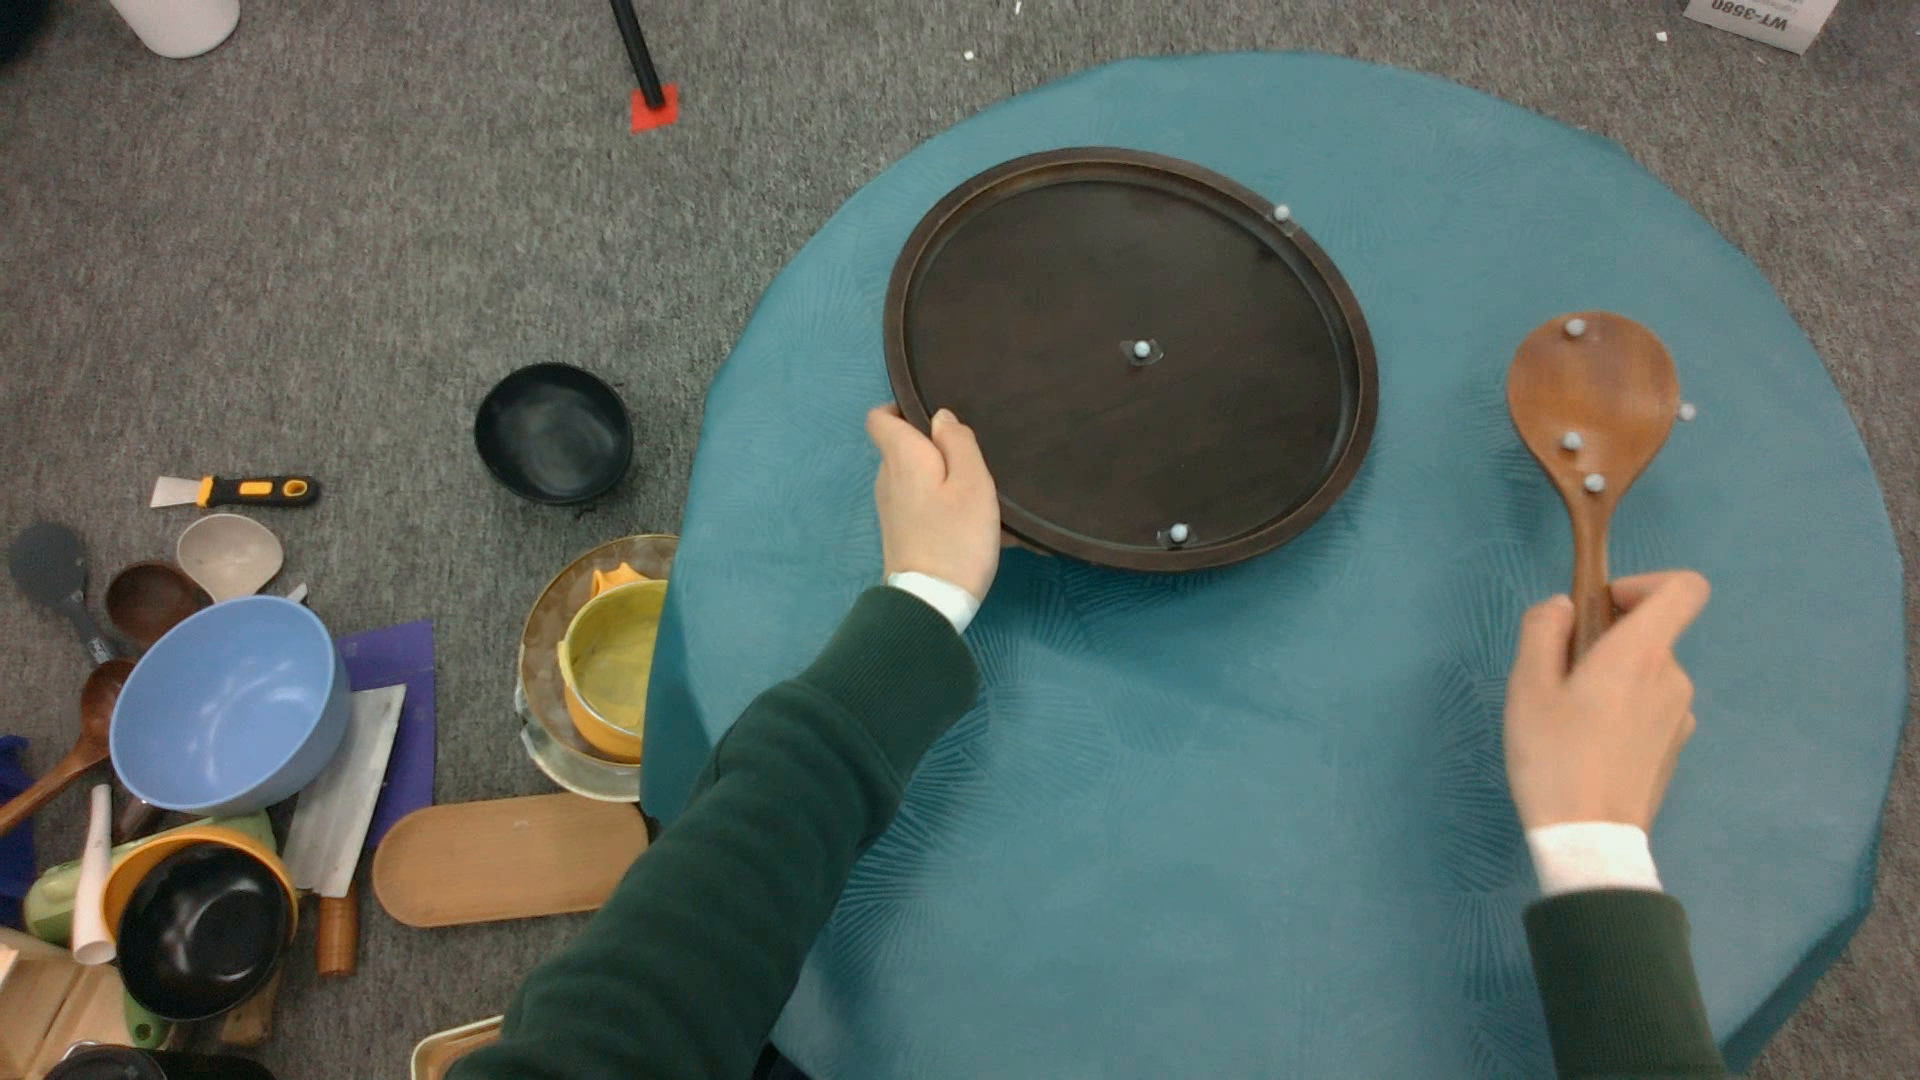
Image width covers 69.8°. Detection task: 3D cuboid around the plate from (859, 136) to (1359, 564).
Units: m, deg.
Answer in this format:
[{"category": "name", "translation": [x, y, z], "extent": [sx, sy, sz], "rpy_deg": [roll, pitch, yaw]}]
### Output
[{"category": "plate", "translation": [0.075, -0.100, 0.691], "extent": [0.255, 0.029, 0.256], "rpy_deg": [4, 61, -8]}]

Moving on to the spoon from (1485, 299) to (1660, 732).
[{"category": "spoon", "translation": [0.271, -0.017, 0.612], "extent": [0.075, 0.017, 0.217], "rpy_deg": [5, 63, 16]}]
